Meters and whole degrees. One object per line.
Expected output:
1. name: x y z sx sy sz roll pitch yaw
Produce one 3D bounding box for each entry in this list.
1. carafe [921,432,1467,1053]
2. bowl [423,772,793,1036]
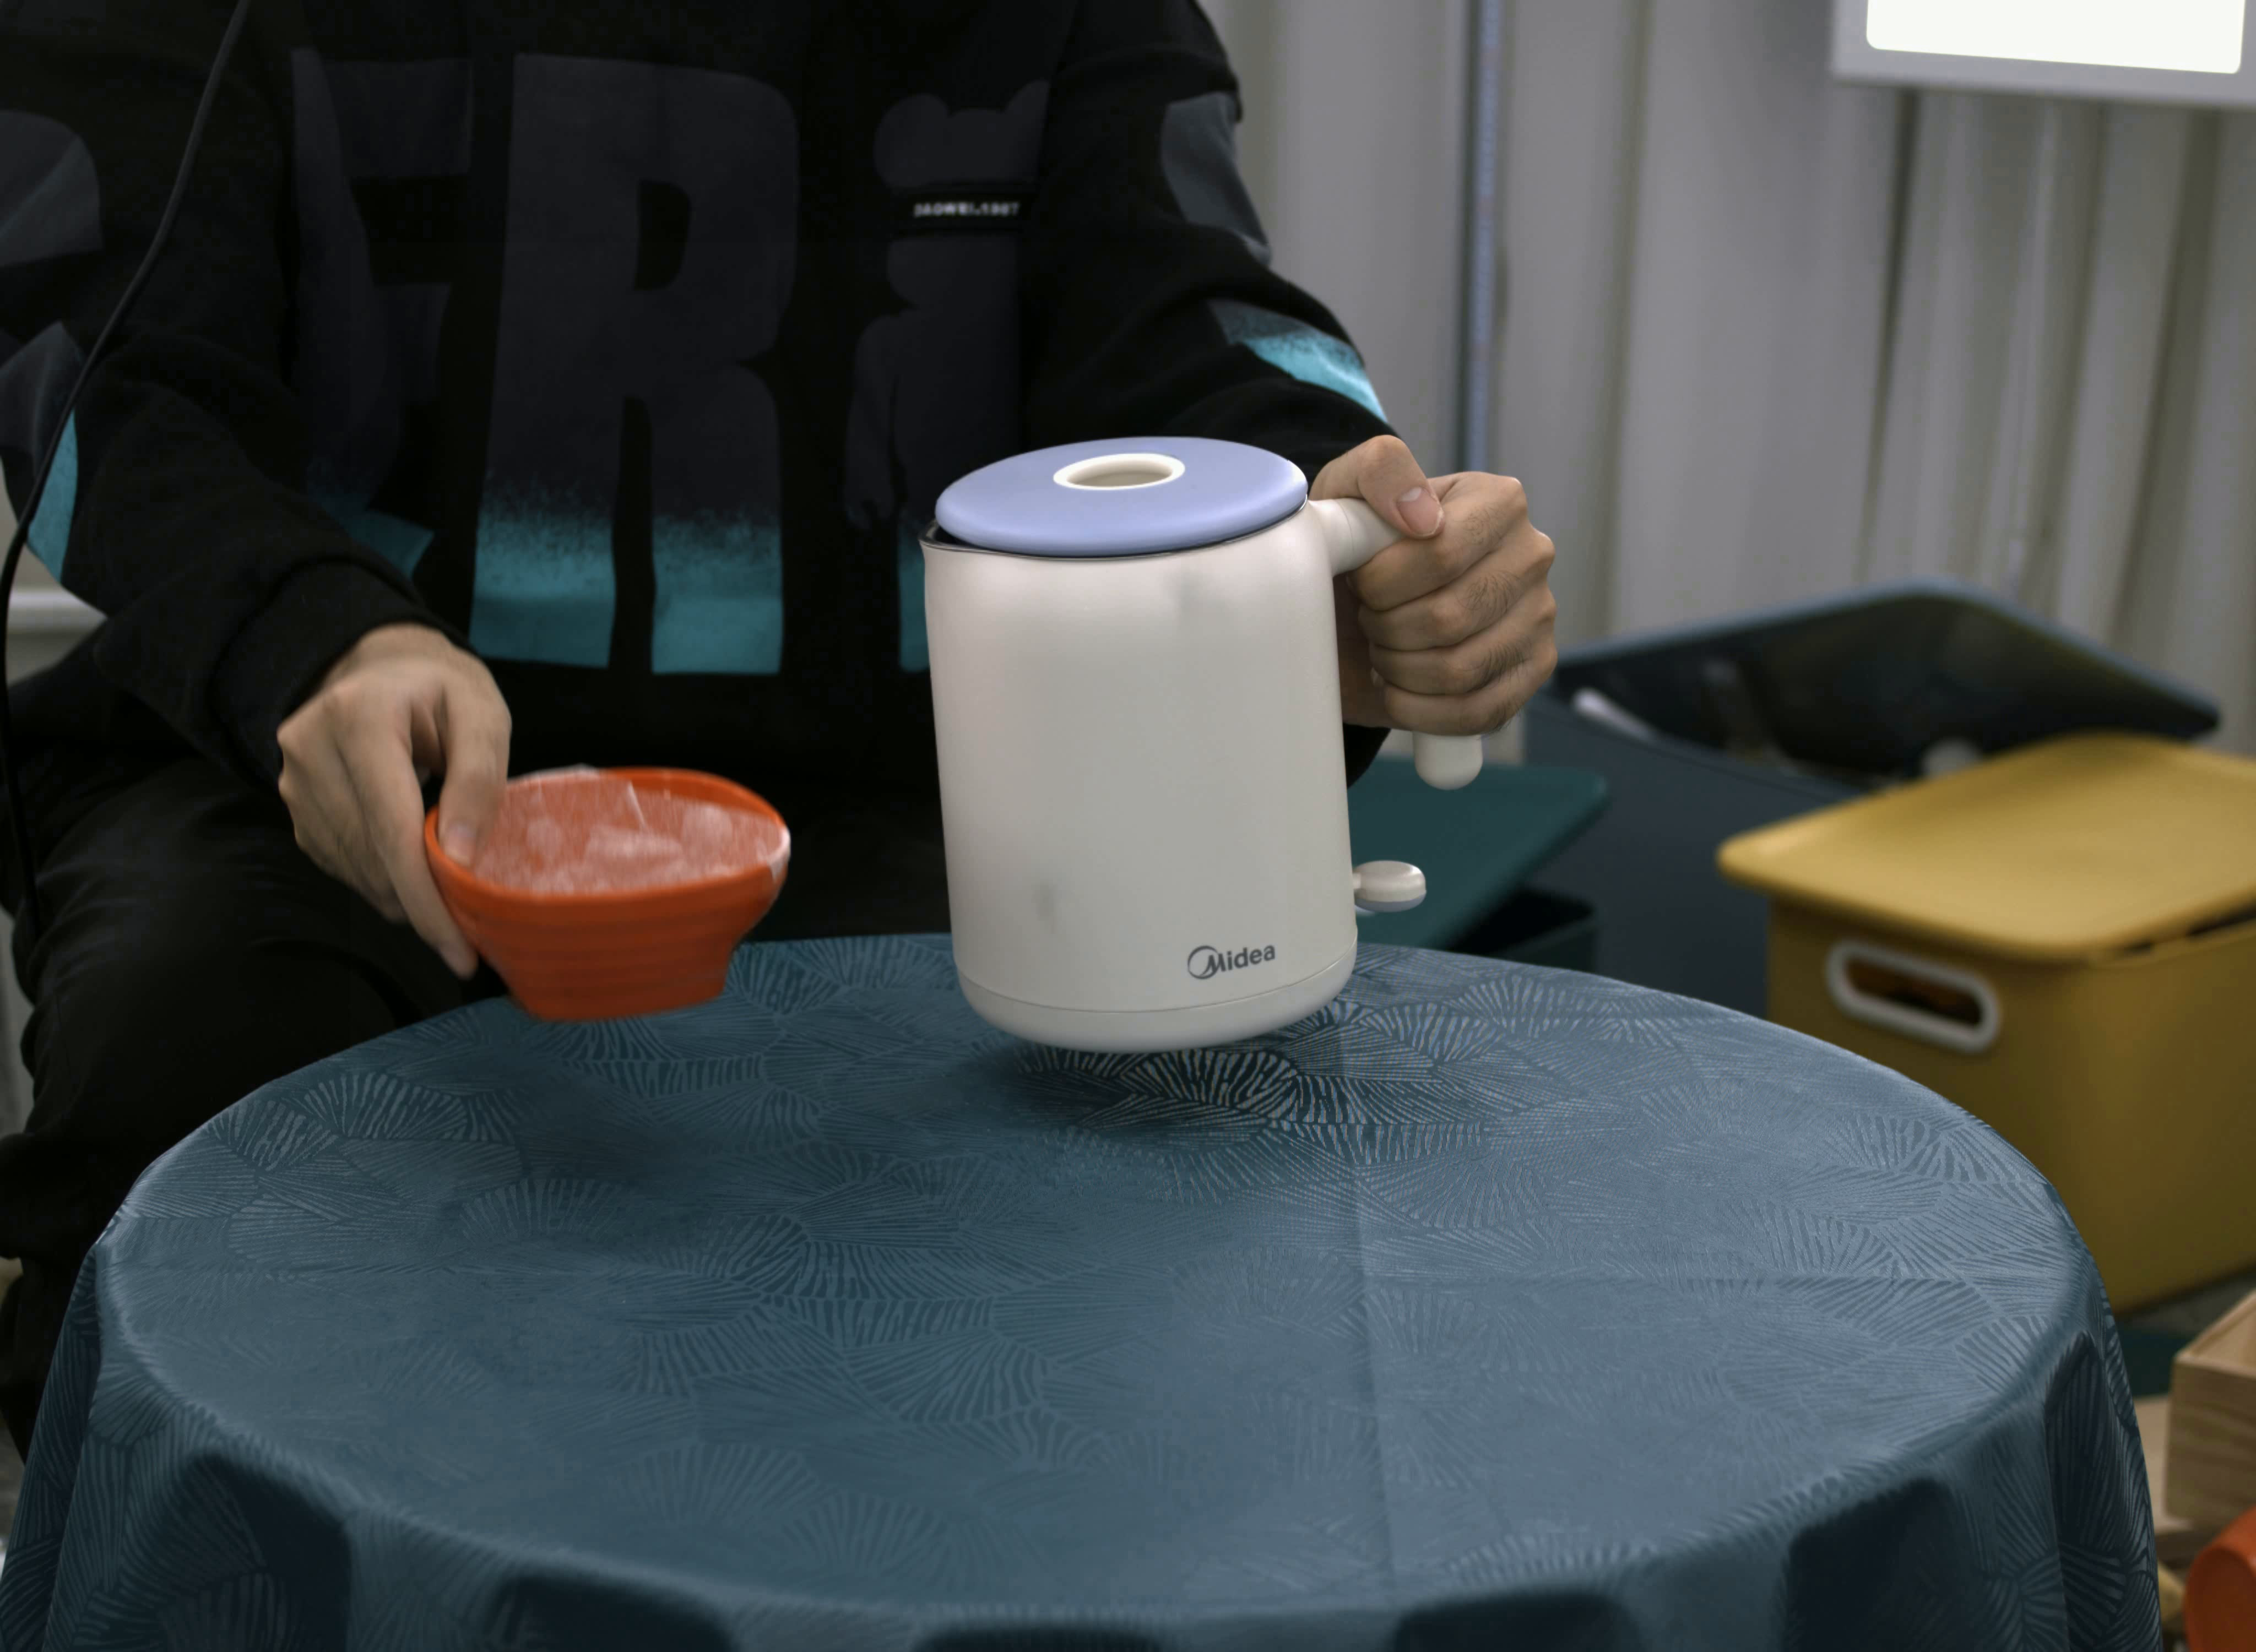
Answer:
1. carafe: 0.025 -0.031 1.699 0.191 0.184 0.130 -10 21 -23
2. bowl: -0.160 0.027 1.630 0.118 0.052 0.118 0 23 0
